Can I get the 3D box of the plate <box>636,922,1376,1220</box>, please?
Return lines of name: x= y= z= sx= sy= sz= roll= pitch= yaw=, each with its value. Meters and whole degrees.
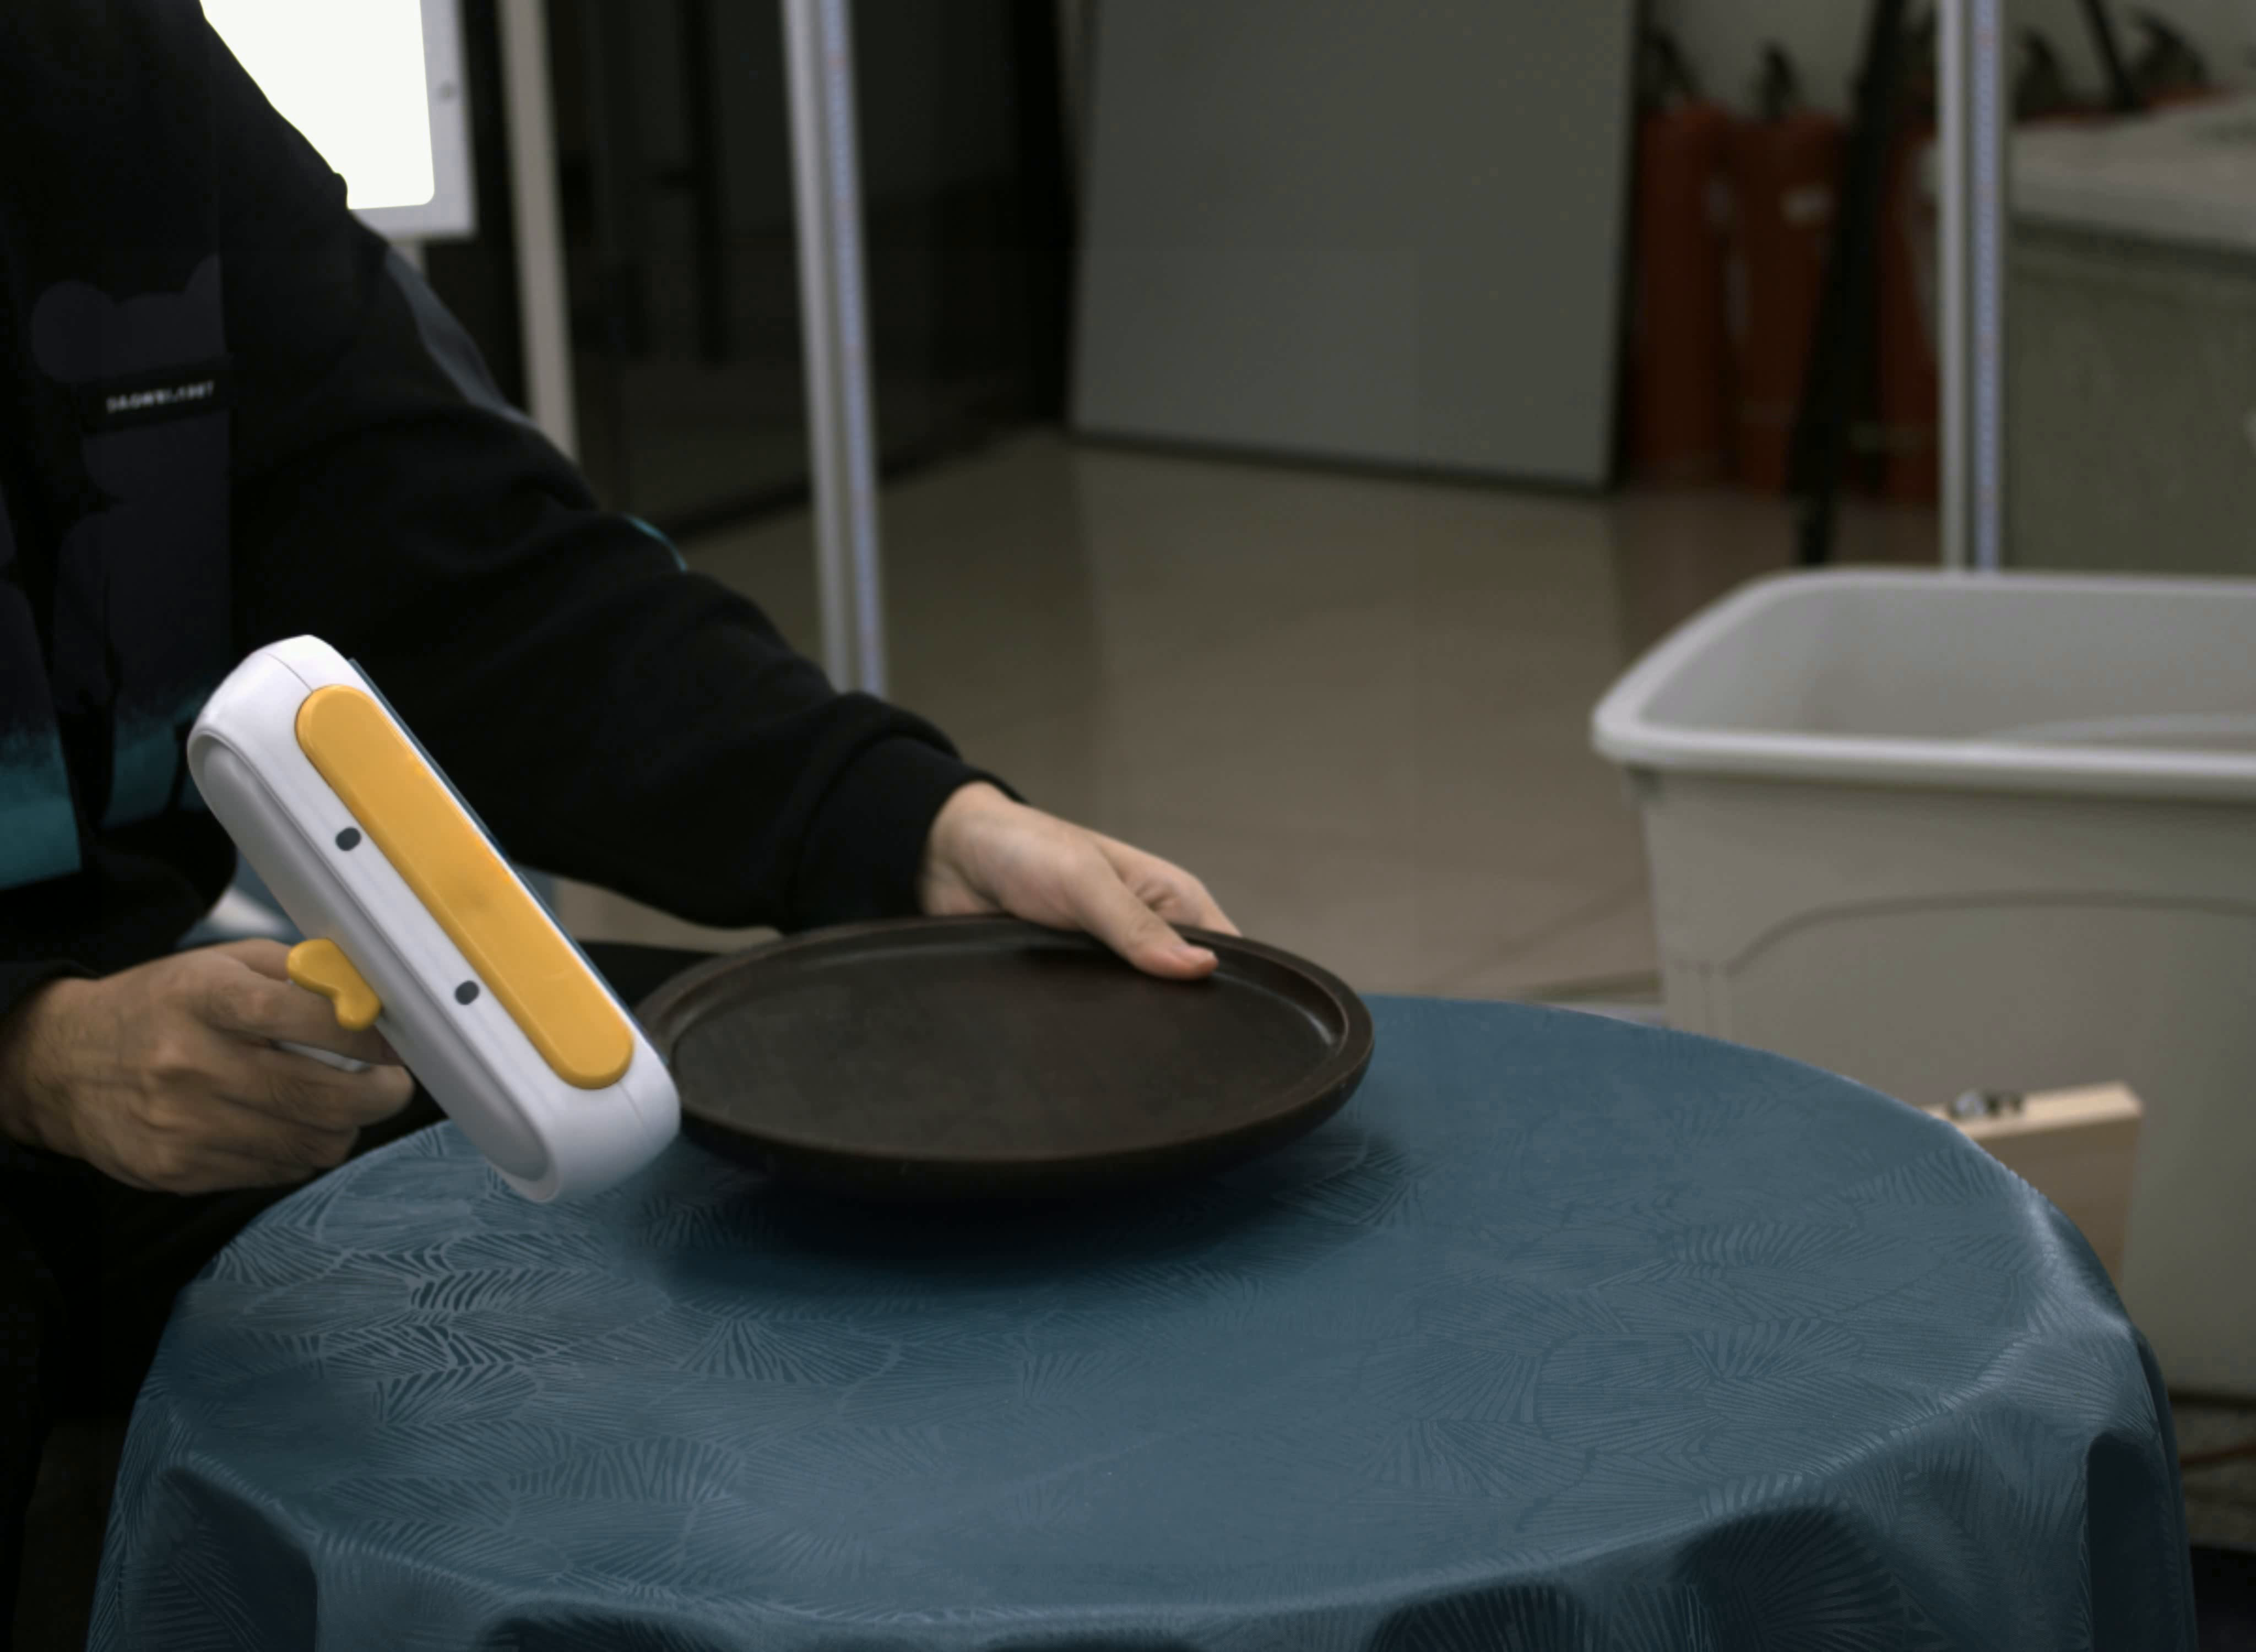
plate: x=-0.043 y=0.079 z=1.798 sx=0.251 sy=0.029 sz=0.255 roll=-3 pitch=16 yaw=0

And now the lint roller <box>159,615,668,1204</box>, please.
lint roller: x=-0.237 y=0.053 z=1.649 sx=0.073 sy=0.193 sz=0.194 roll=-41 pitch=-6 yaw=-36
